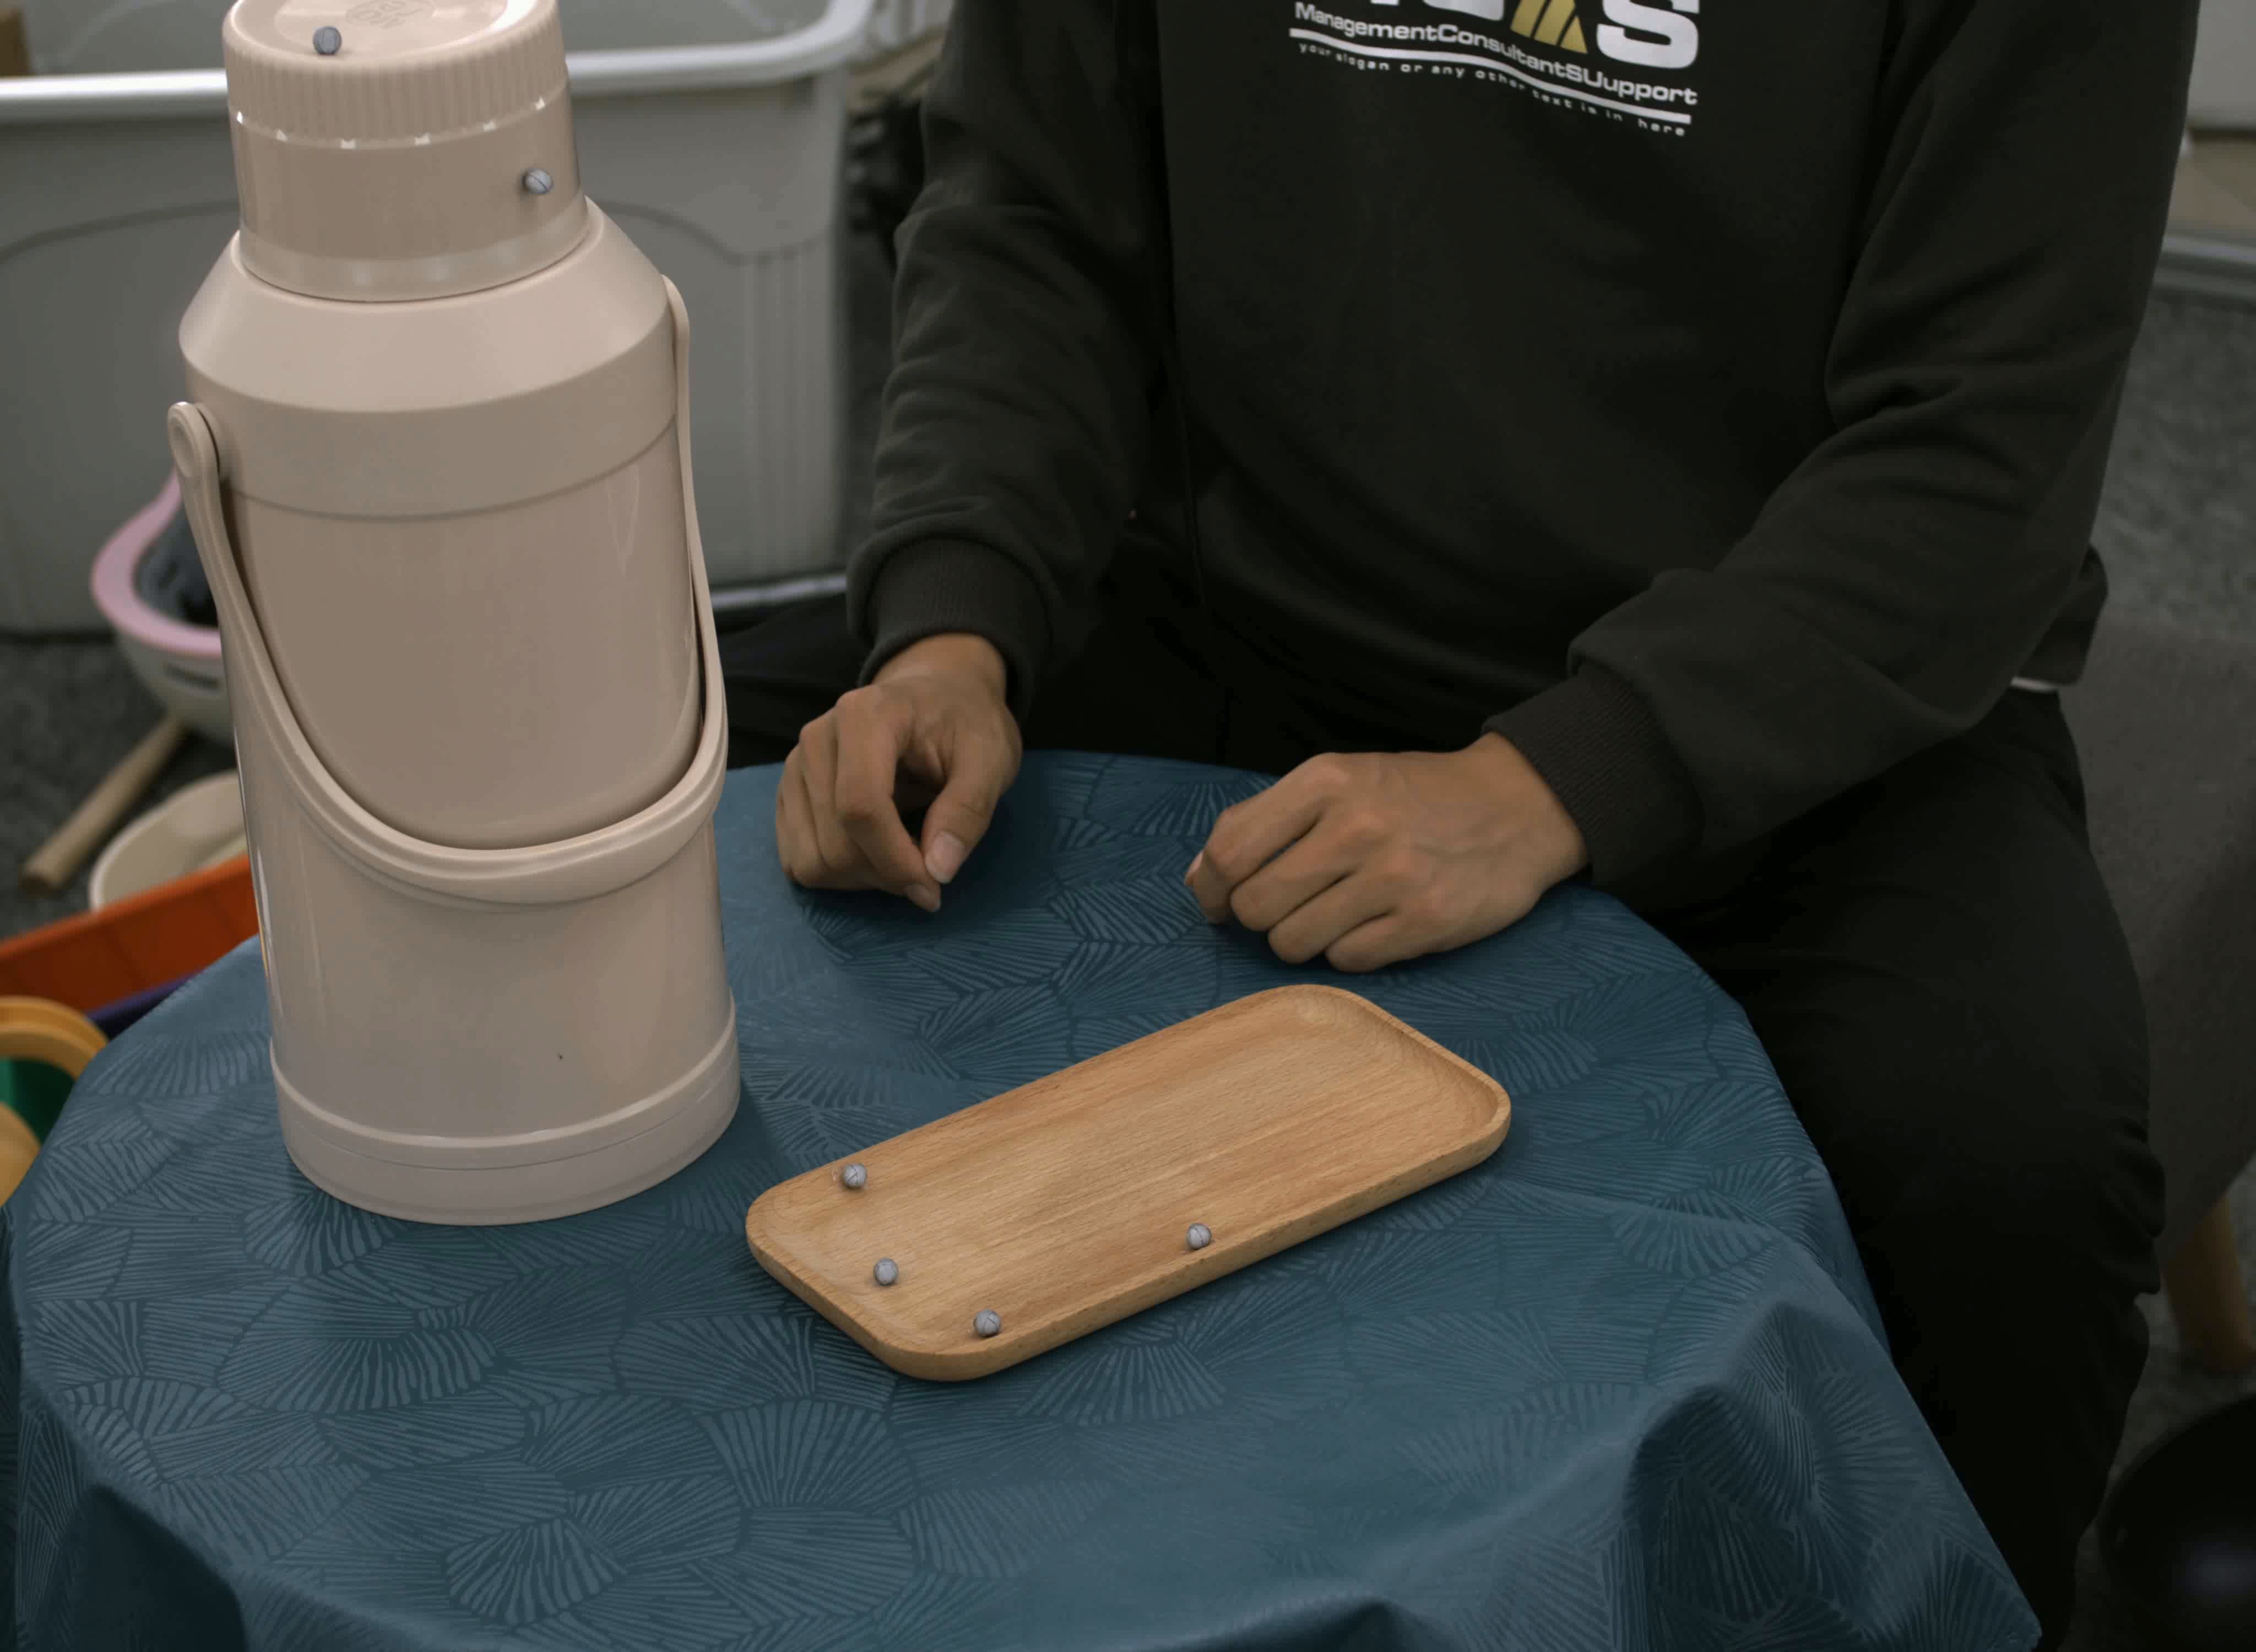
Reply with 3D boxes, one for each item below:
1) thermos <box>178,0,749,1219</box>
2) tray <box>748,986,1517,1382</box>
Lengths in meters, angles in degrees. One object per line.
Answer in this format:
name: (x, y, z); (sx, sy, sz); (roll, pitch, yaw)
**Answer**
thermos: (-0.224, -0.085, 1.858); (0.177, 0.402, 0.207); (-20, 31, -28)
tray: (0.003, 0.117, 1.857); (0.253, 0.022, 0.131); (-19, 34, -30)
